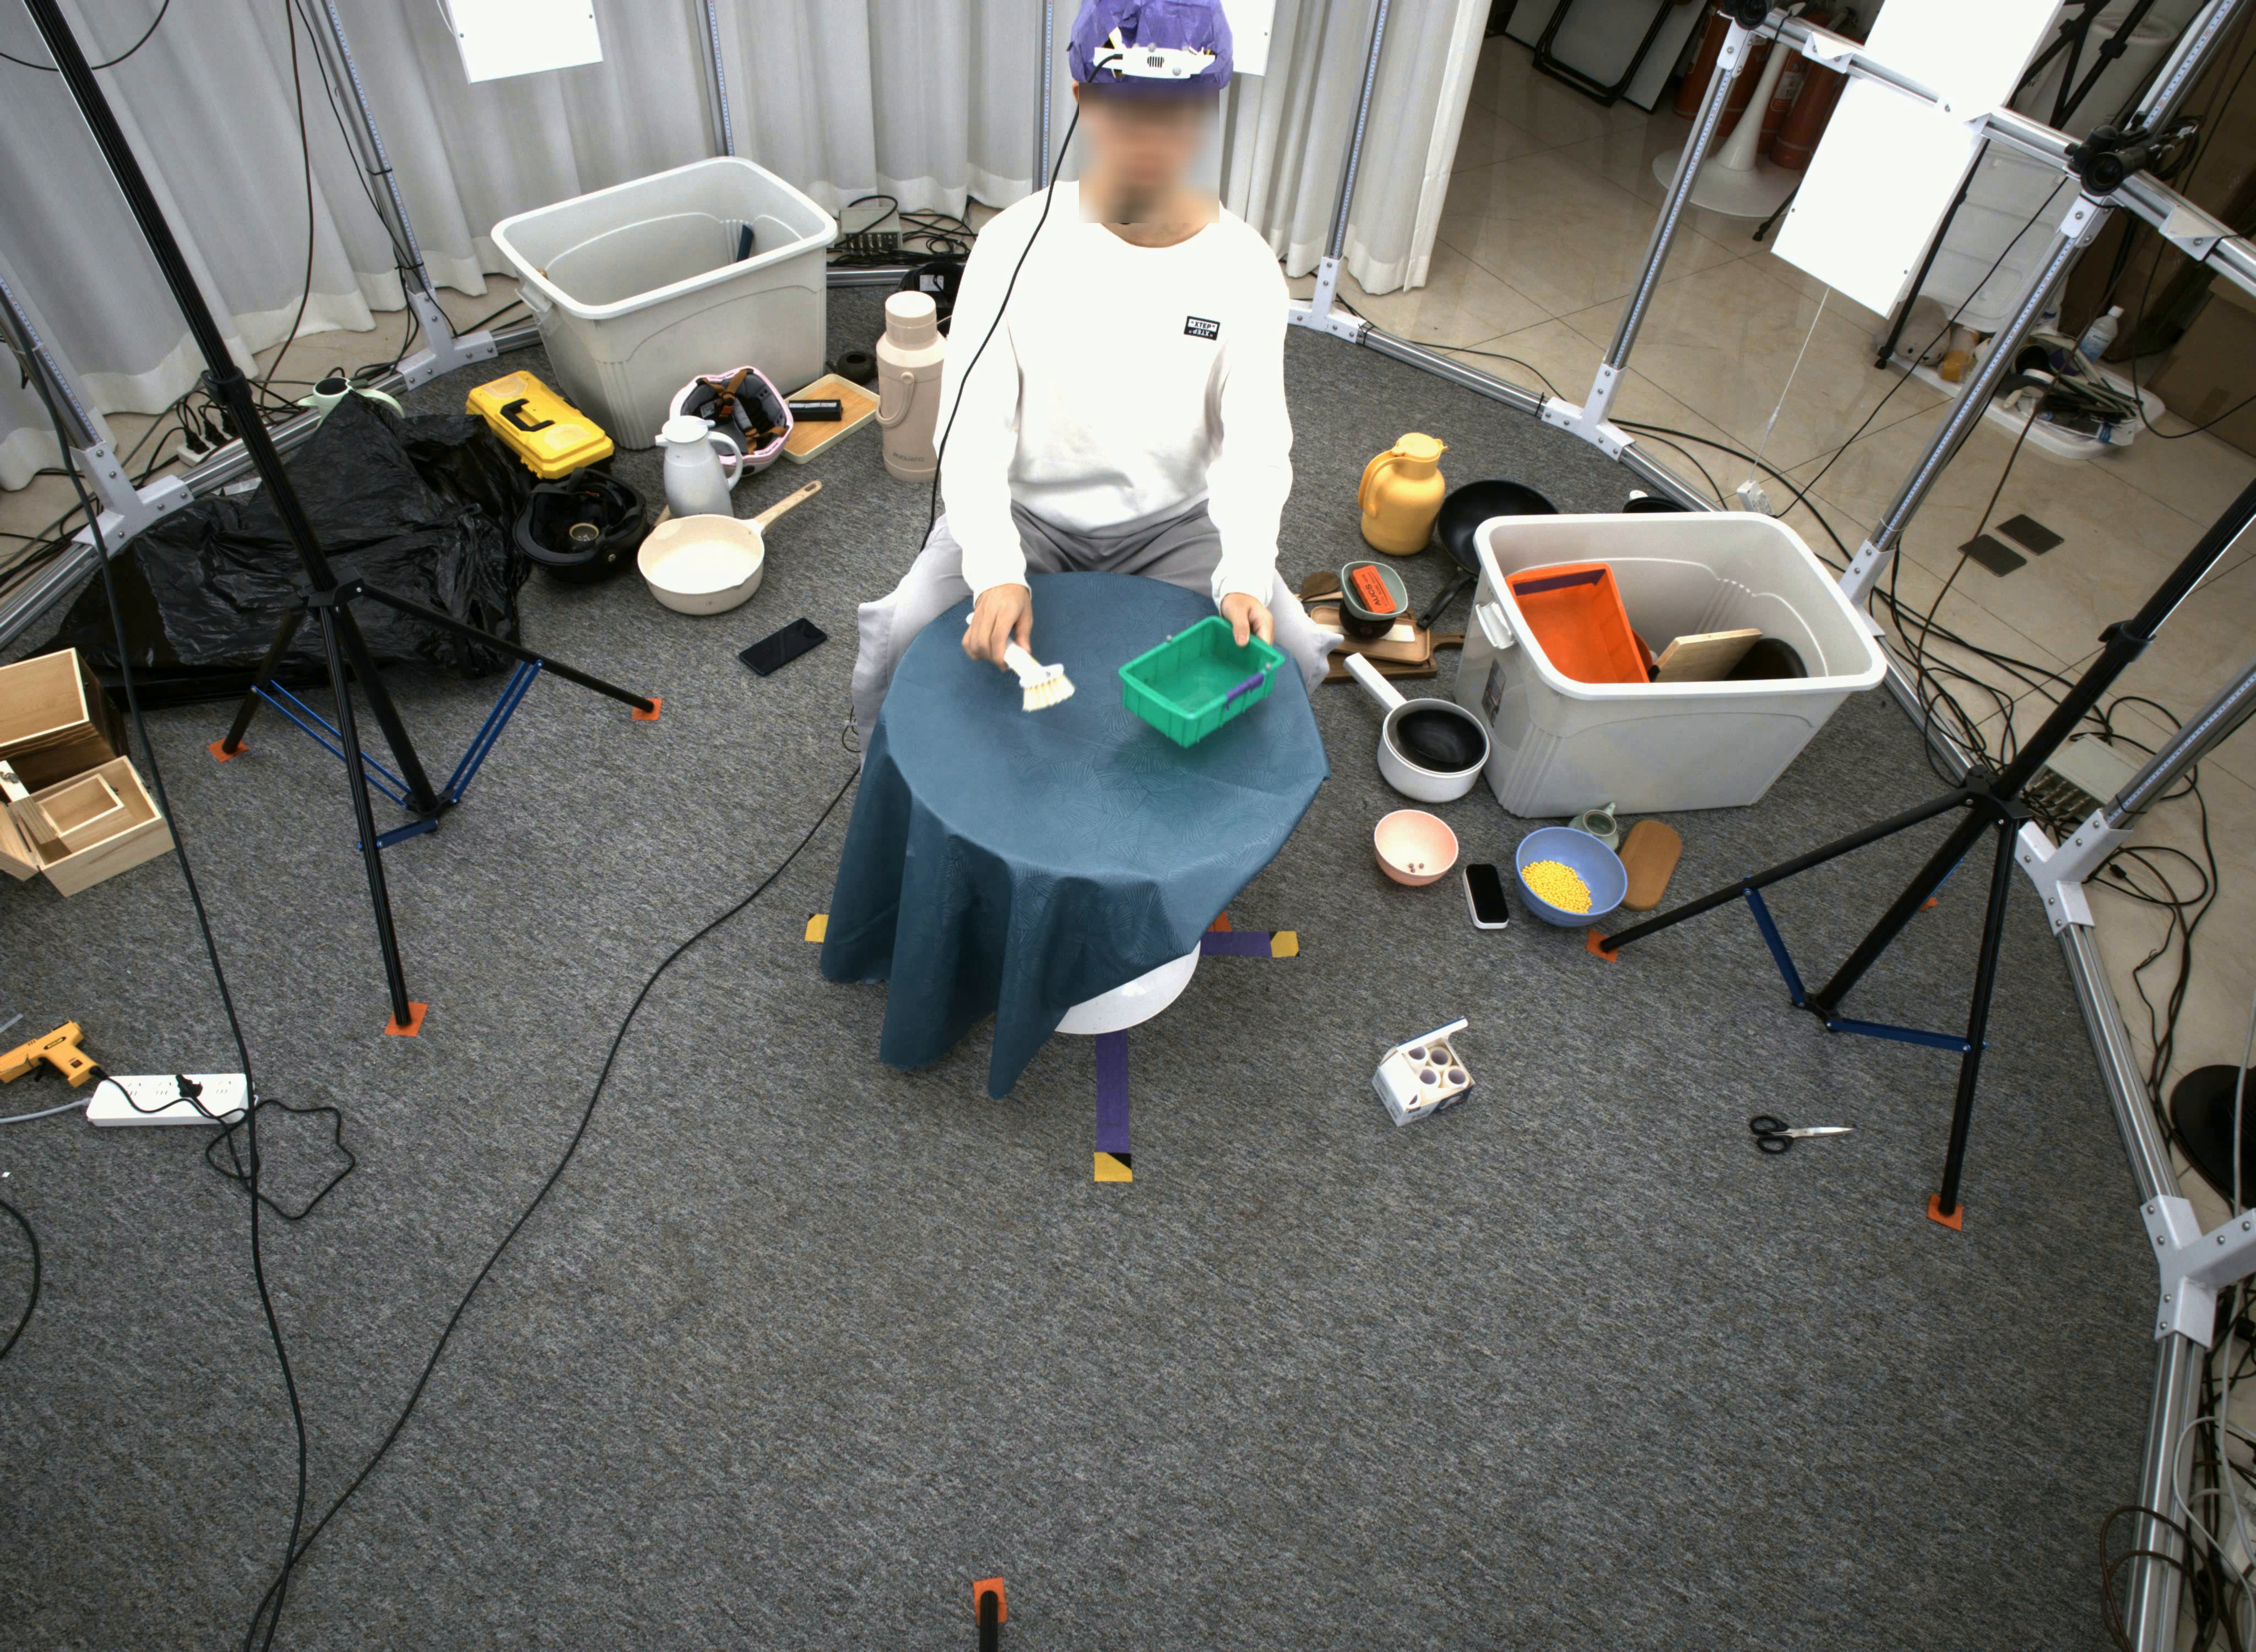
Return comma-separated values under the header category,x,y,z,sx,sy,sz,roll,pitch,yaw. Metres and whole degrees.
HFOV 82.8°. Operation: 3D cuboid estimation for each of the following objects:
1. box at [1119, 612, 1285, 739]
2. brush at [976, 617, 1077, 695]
category,x,y,z,sx,sy,sz,roll,pitch,yaw
box,0.099,-0.204,1.742,0.141,0.064,0.212,35,49,29
brush,-0.146,-0.231,1.756,0.068,0.055,0.271,-11,25,-25
